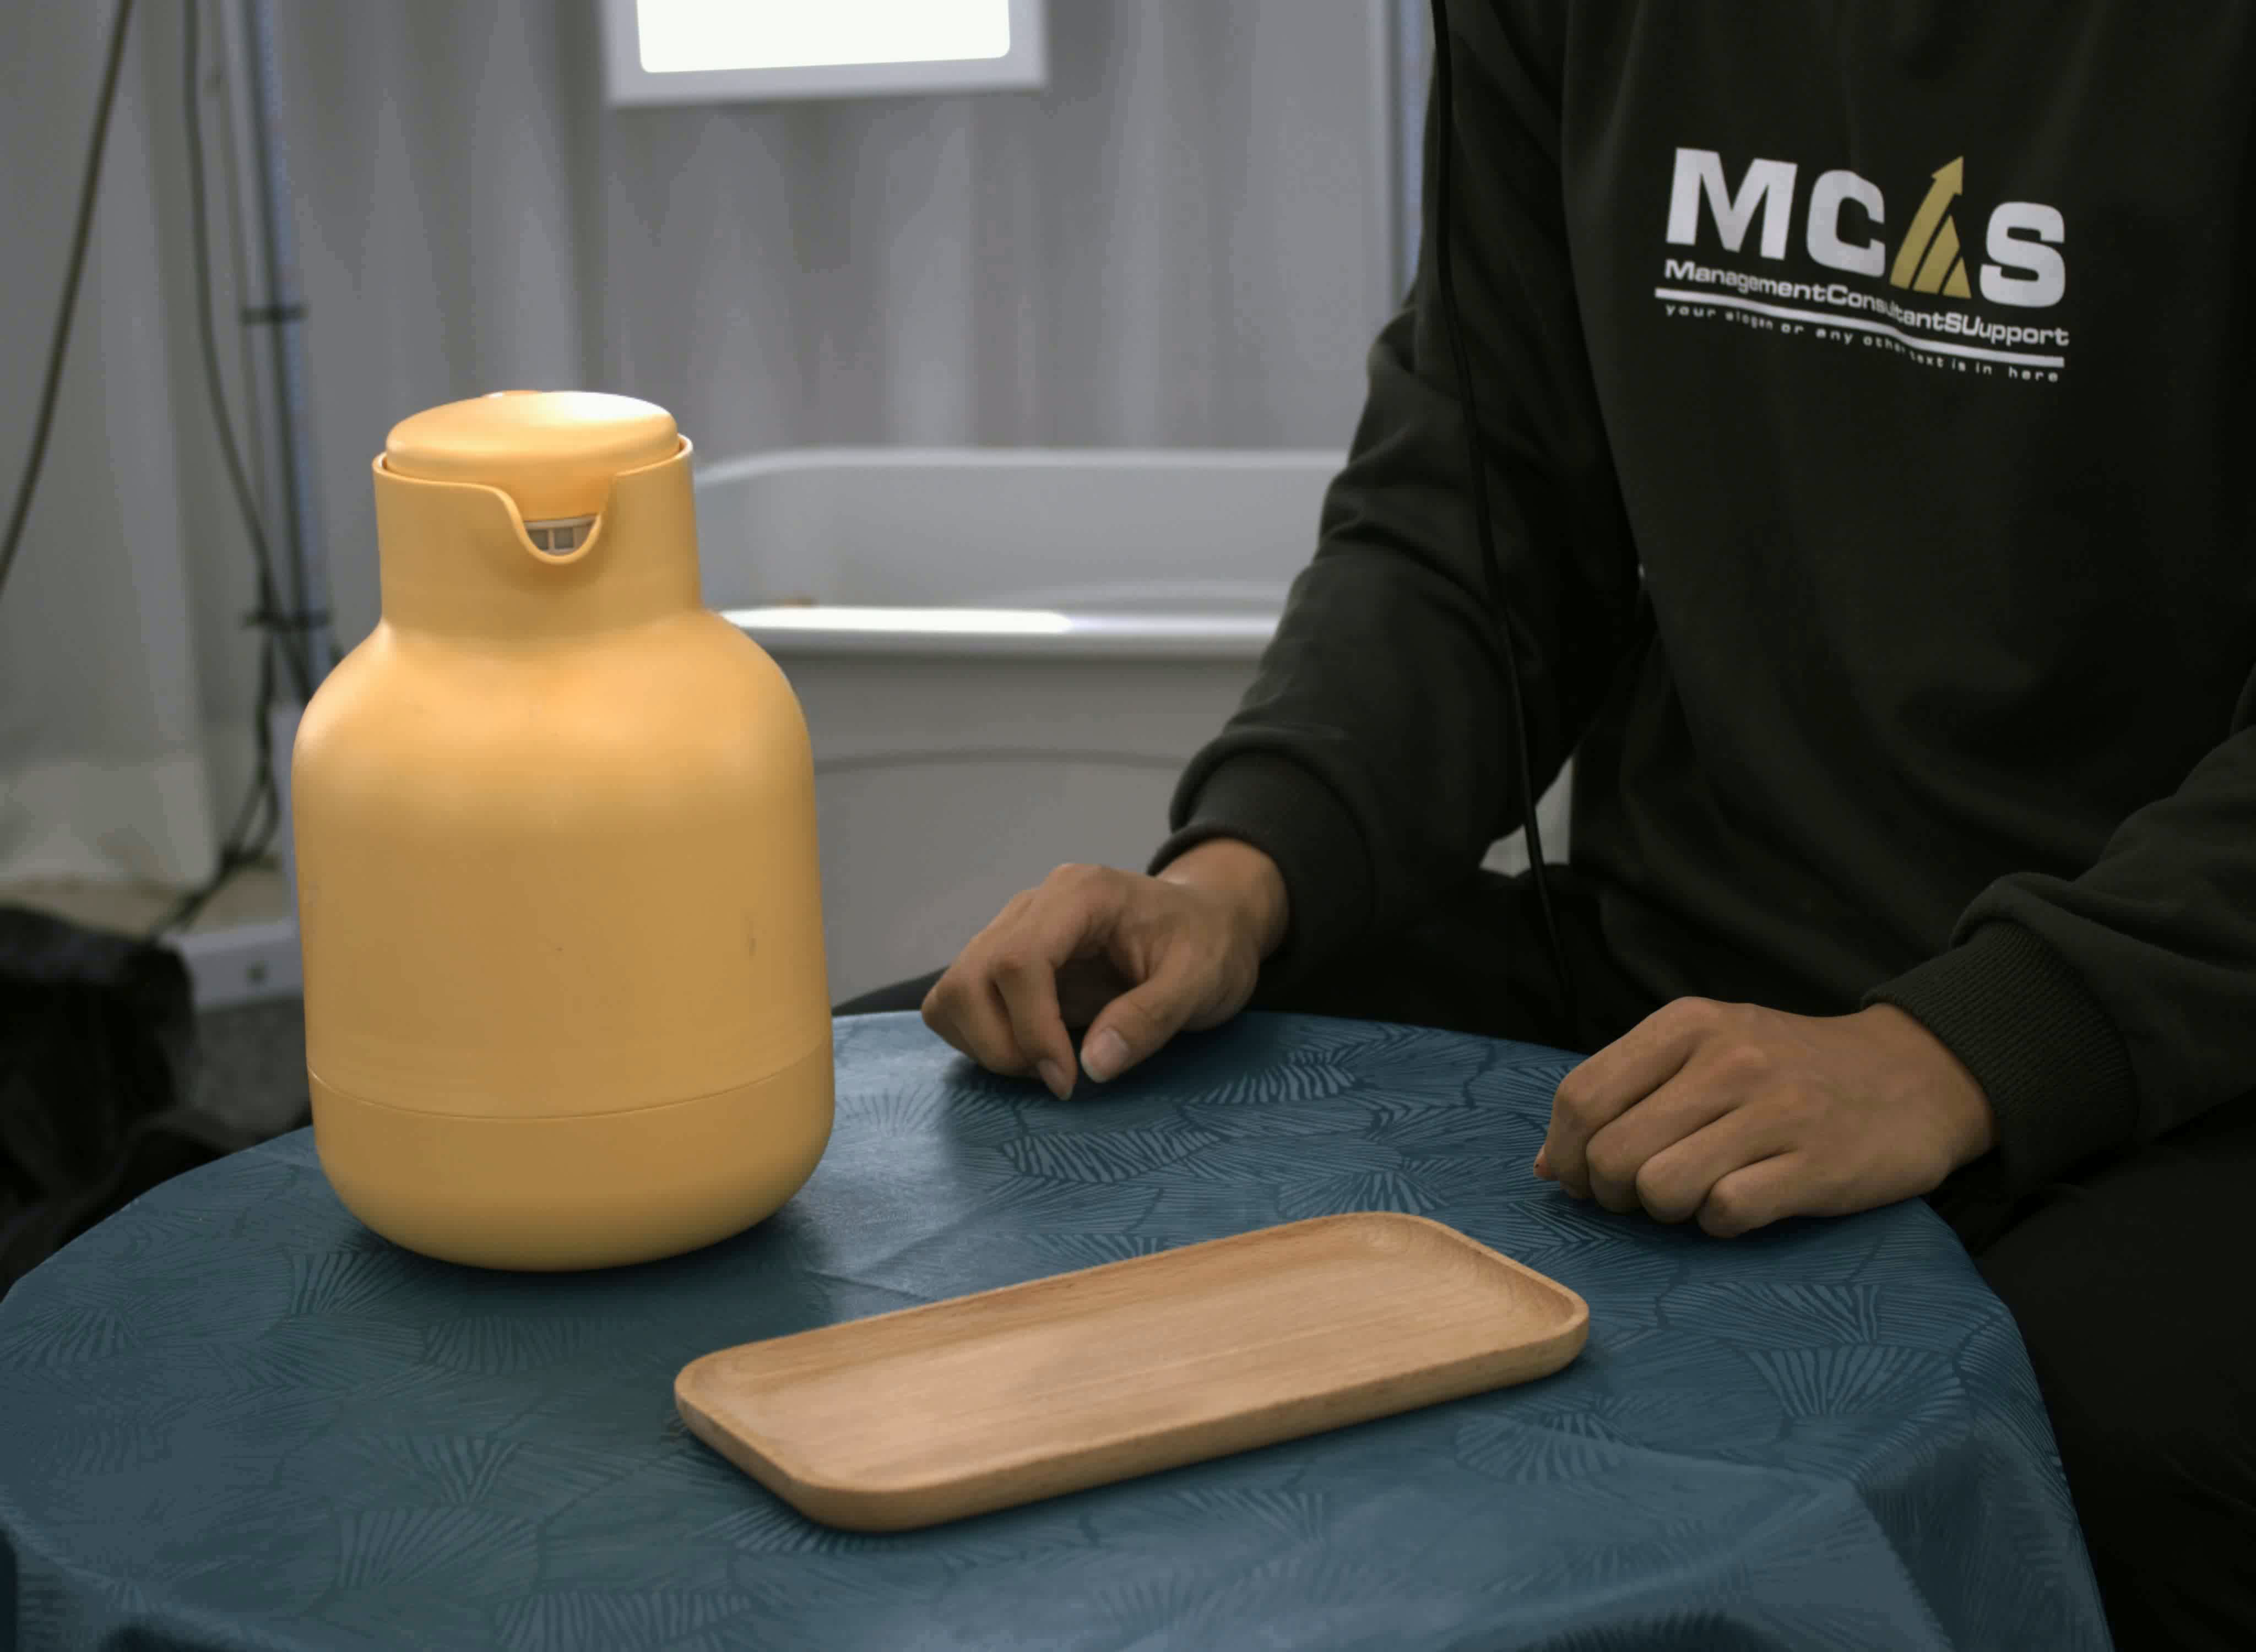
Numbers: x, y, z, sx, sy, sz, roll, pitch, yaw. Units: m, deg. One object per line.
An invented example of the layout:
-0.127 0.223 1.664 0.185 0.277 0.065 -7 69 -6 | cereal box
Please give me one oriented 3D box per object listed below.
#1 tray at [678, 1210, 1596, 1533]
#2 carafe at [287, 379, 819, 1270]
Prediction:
0.004 0.152 1.545 0.249 0.023 0.131 -9 19 -26 | tray
-0.180 -0.009 1.707 0.163 0.259 0.204 -2 15 -9 | carafe
